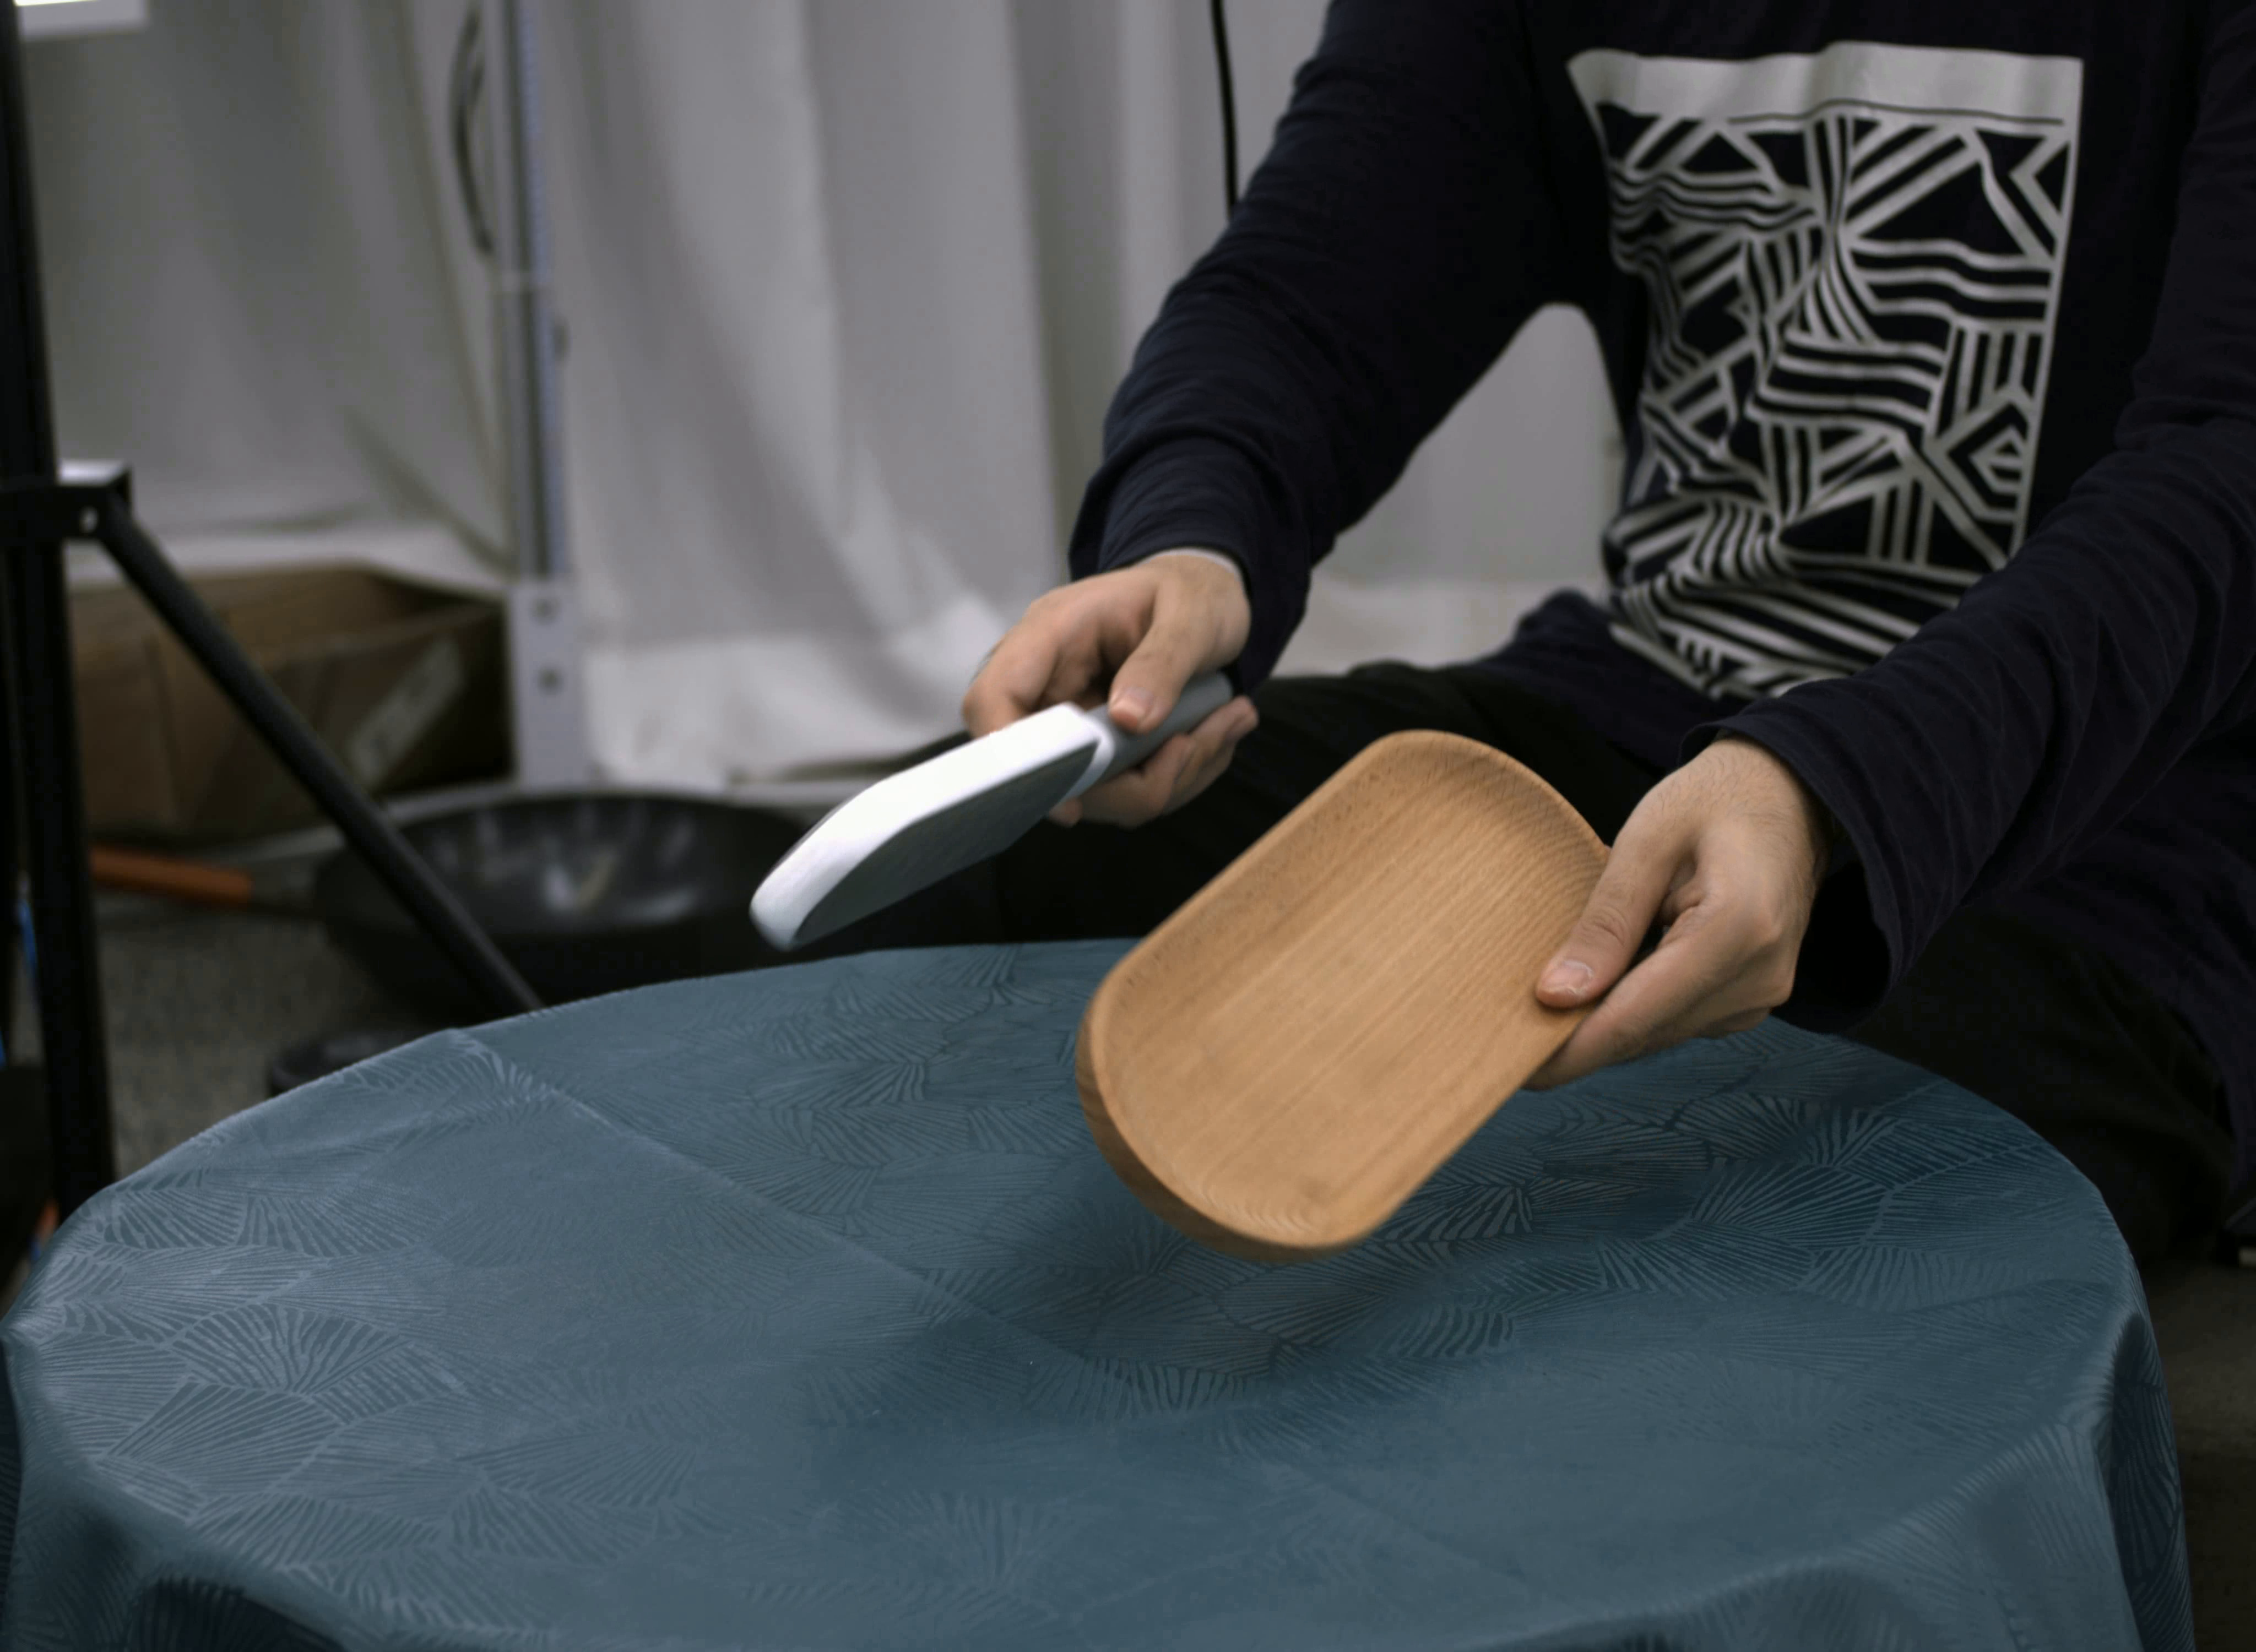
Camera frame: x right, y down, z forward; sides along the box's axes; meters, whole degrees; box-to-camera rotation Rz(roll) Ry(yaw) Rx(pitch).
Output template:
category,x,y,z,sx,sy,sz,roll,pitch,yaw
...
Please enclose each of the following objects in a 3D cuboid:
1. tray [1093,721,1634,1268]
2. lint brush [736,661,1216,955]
category,x,y,z,sx,sy,sz,roll,pitch,yaw
tray,0.068,0.045,1.483,0.102,0.020,0.228,44,42,4
lint brush,-0.036,-0.013,1.577,0.021,0.060,0.304,43,24,9
